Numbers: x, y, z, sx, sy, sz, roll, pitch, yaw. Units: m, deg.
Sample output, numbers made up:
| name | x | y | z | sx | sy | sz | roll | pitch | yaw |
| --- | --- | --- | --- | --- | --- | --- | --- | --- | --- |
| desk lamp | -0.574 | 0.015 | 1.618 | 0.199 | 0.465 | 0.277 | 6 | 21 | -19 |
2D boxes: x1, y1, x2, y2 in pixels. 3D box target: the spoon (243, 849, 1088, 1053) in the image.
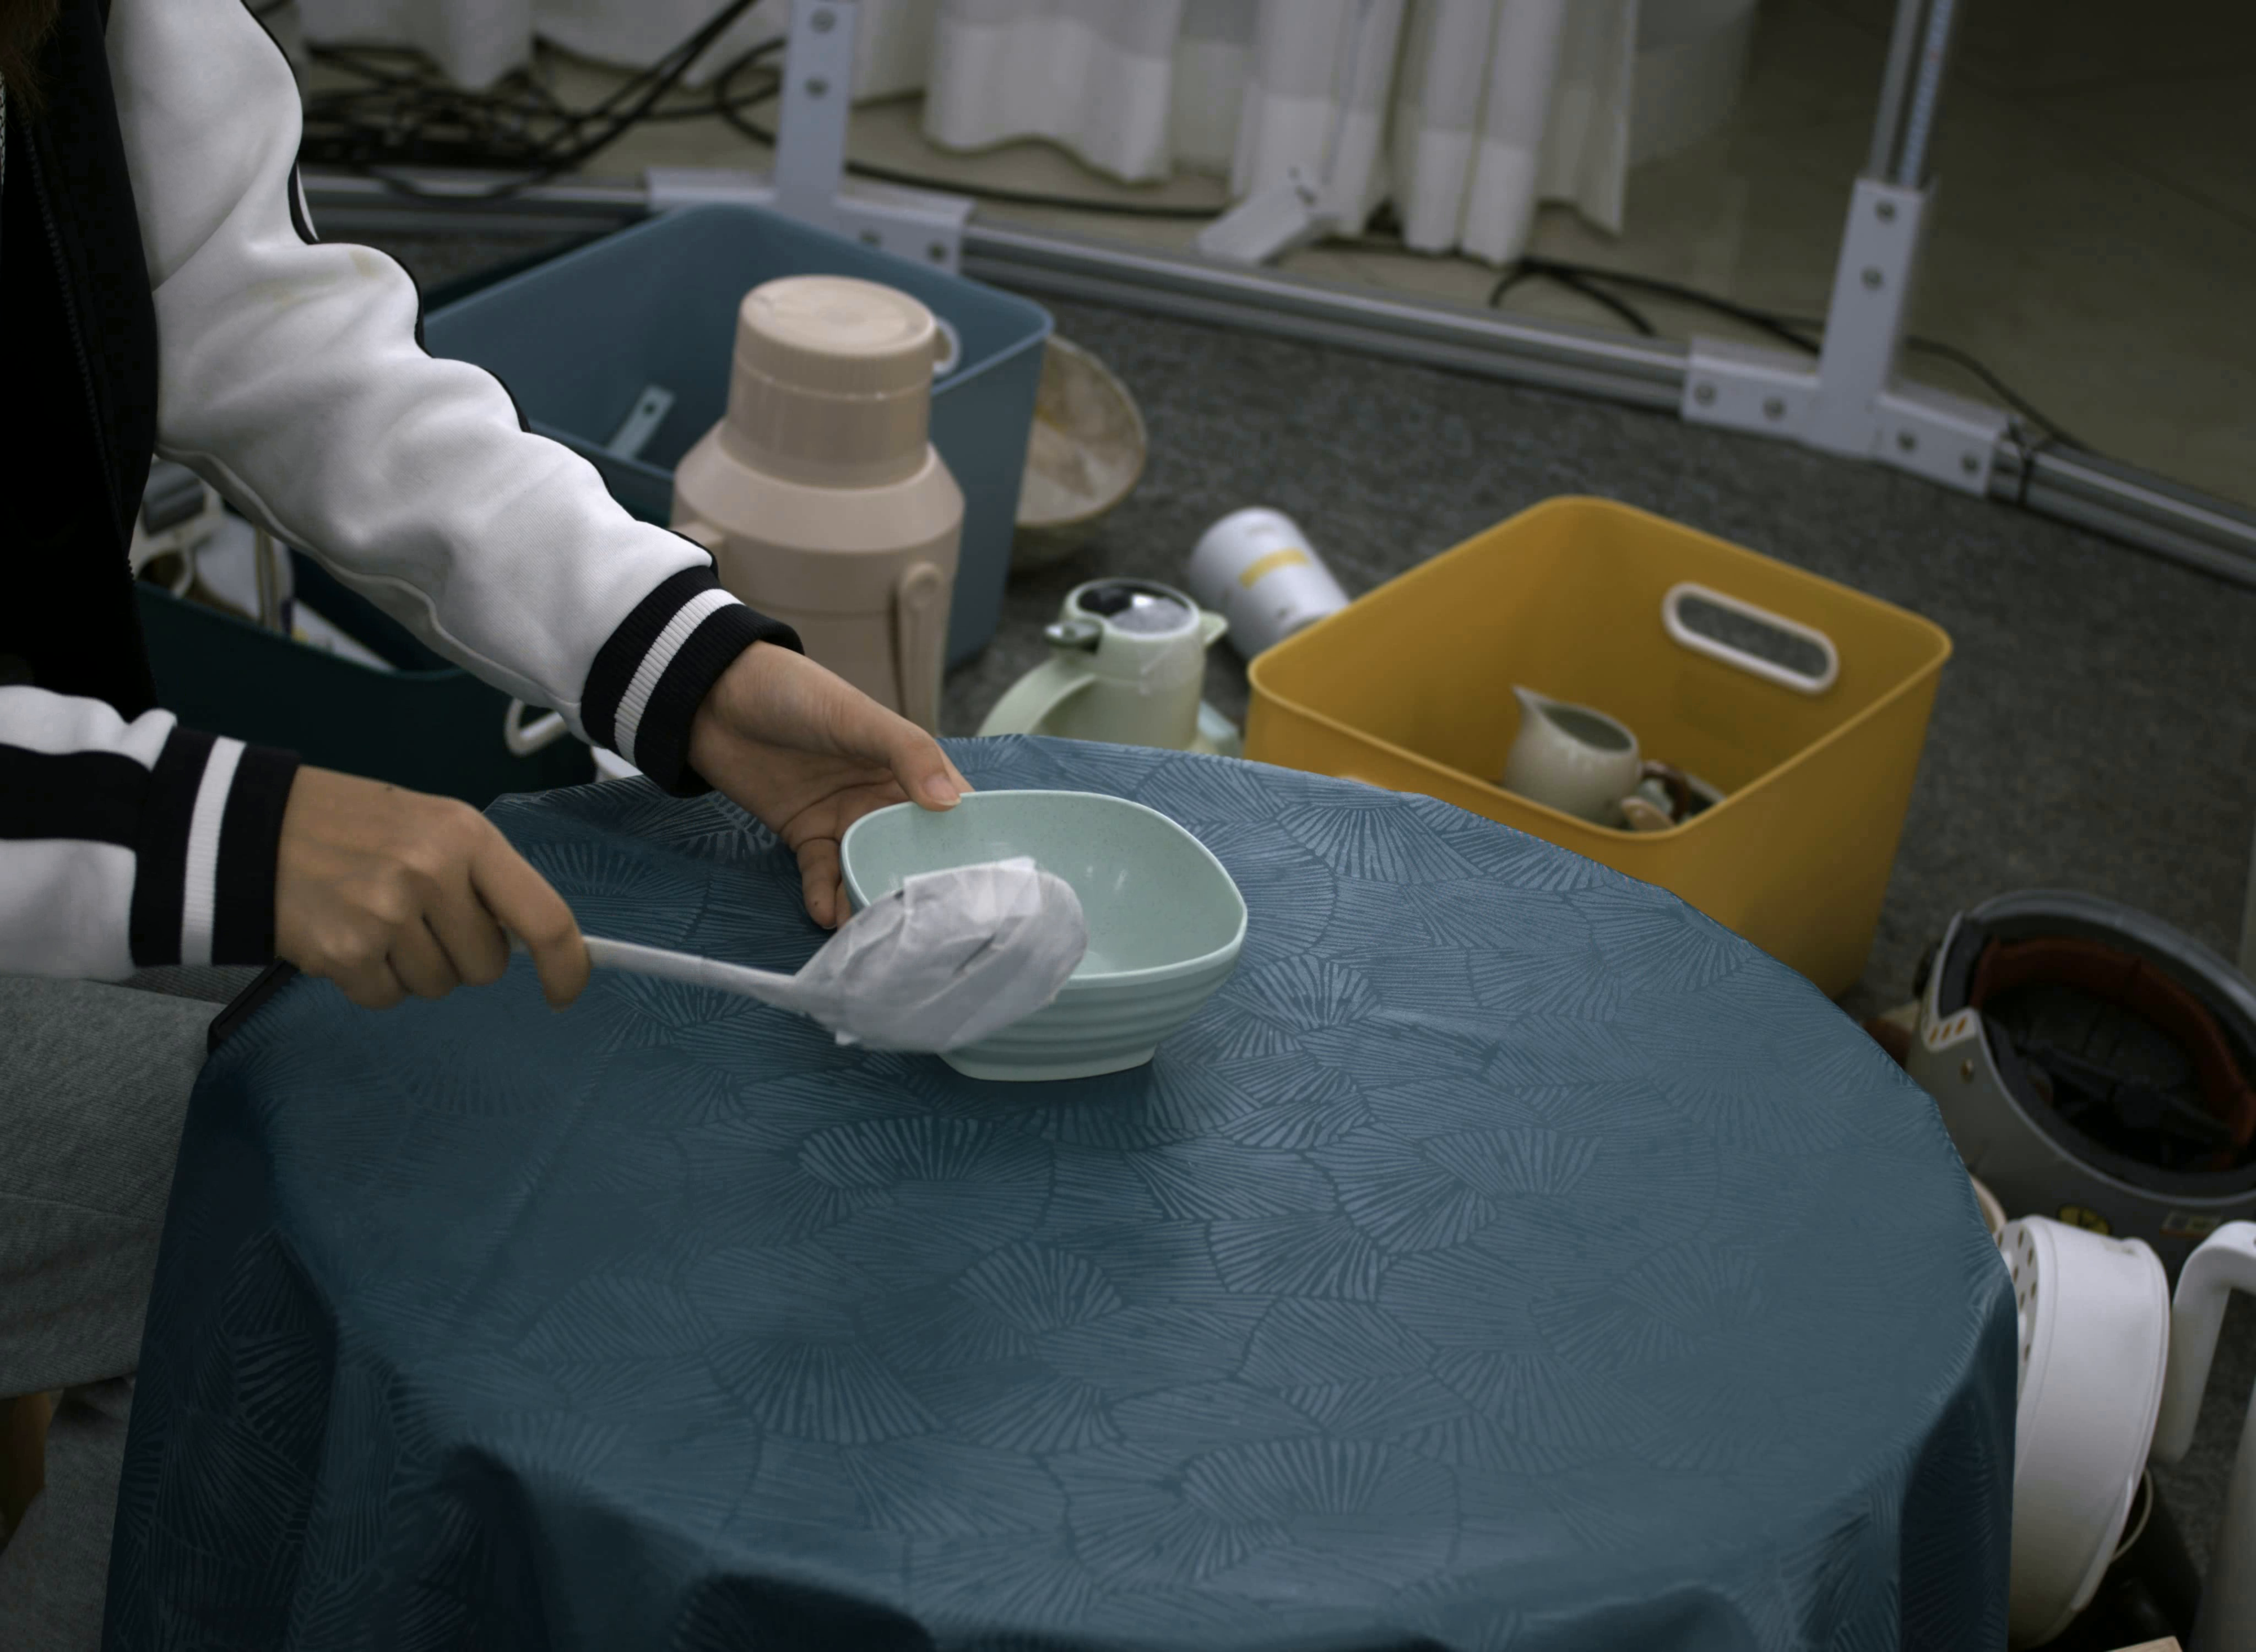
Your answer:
| name | x | y | z | sx | sy | sz | roll | pitch | yaw |
| --- | --- | --- | --- | --- | --- | --- | --- | --- | --- |
| spoon | -0.152 | 0.026 | 1.733 | 0.278 | 0.100 | 0.059 | 10 | 51 | 16 |

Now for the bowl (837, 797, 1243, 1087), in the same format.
| name | x | y | z | sx | sy | sz | roll | pitch | yaw |
| --- | --- | --- | --- | --- | --- | --- | --- | --- | --- |
| bowl | -0.034 | 0.047 | 1.888 | 0.151 | 0.058 | 0.152 | 5 | 26 | -3 |
